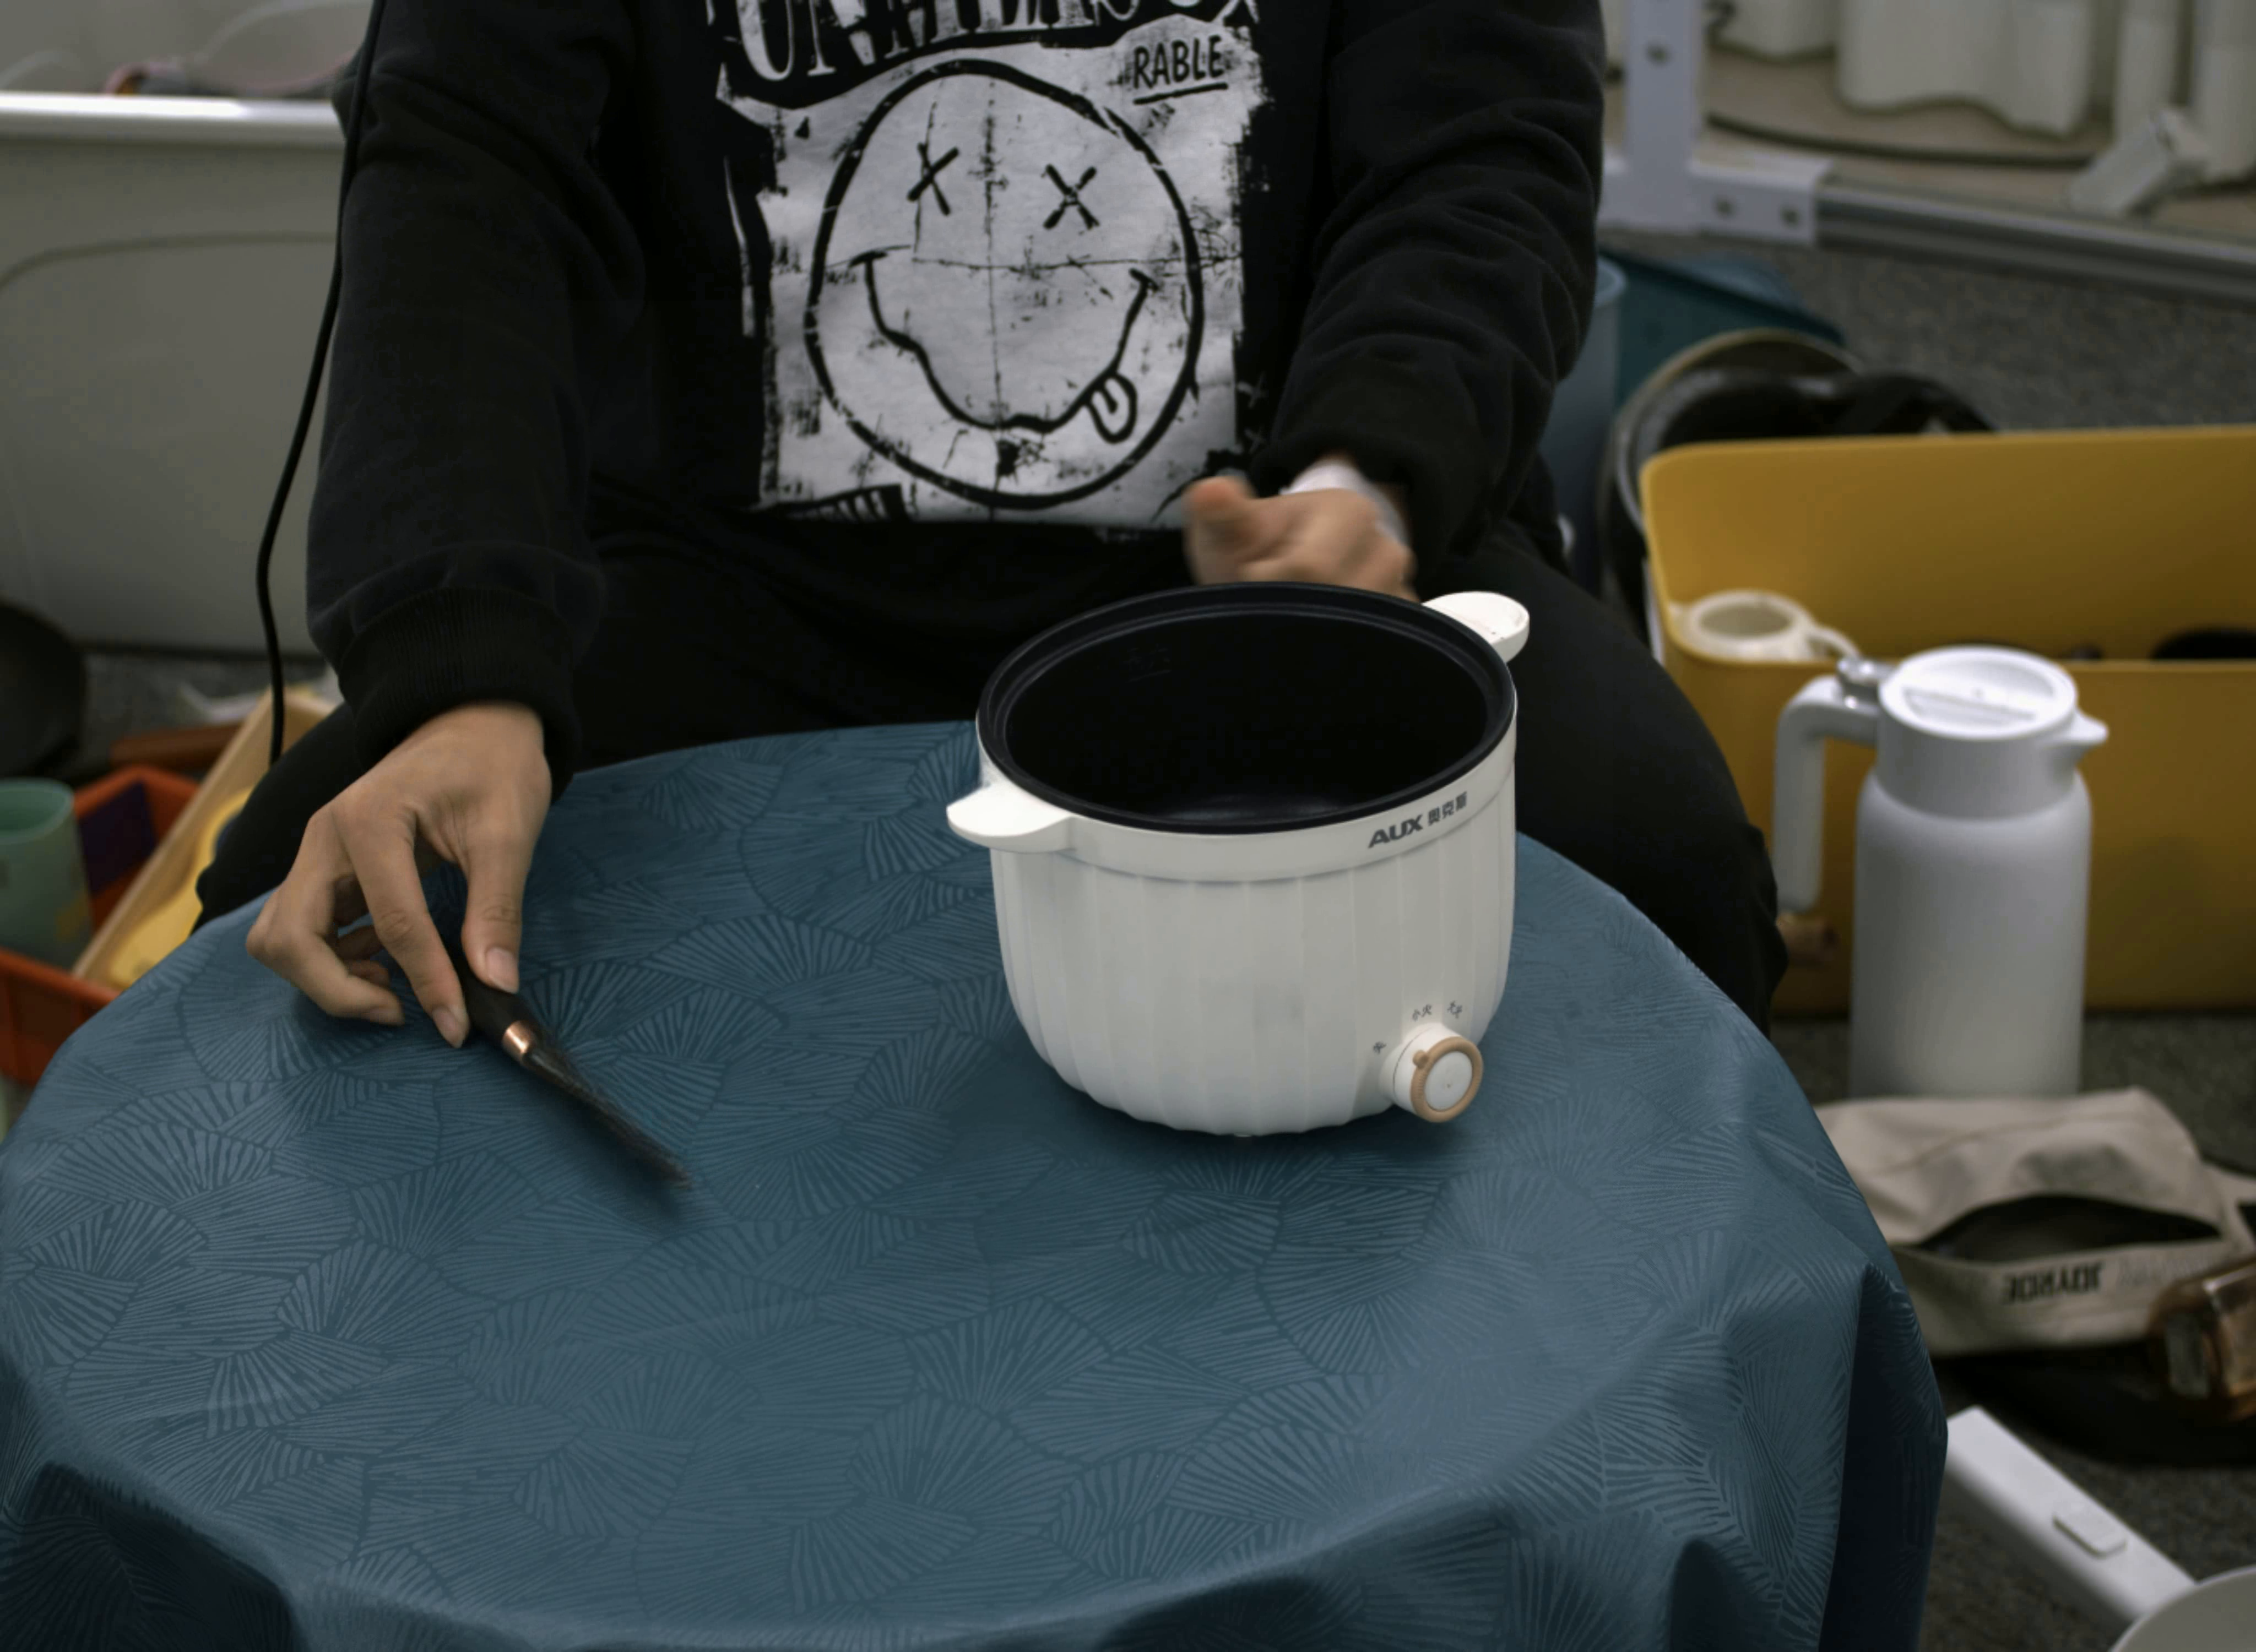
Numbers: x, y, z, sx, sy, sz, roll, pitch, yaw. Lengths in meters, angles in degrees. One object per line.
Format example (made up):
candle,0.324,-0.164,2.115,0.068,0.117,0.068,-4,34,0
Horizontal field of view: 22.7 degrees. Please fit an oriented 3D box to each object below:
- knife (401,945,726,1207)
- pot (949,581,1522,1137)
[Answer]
knife,-0.197,0.085,1.931,0.017,0.026,0.226,-55,38,-3
pot,0.047,0.017,1.908,0.243,0.141,0.190,-24,30,-33
